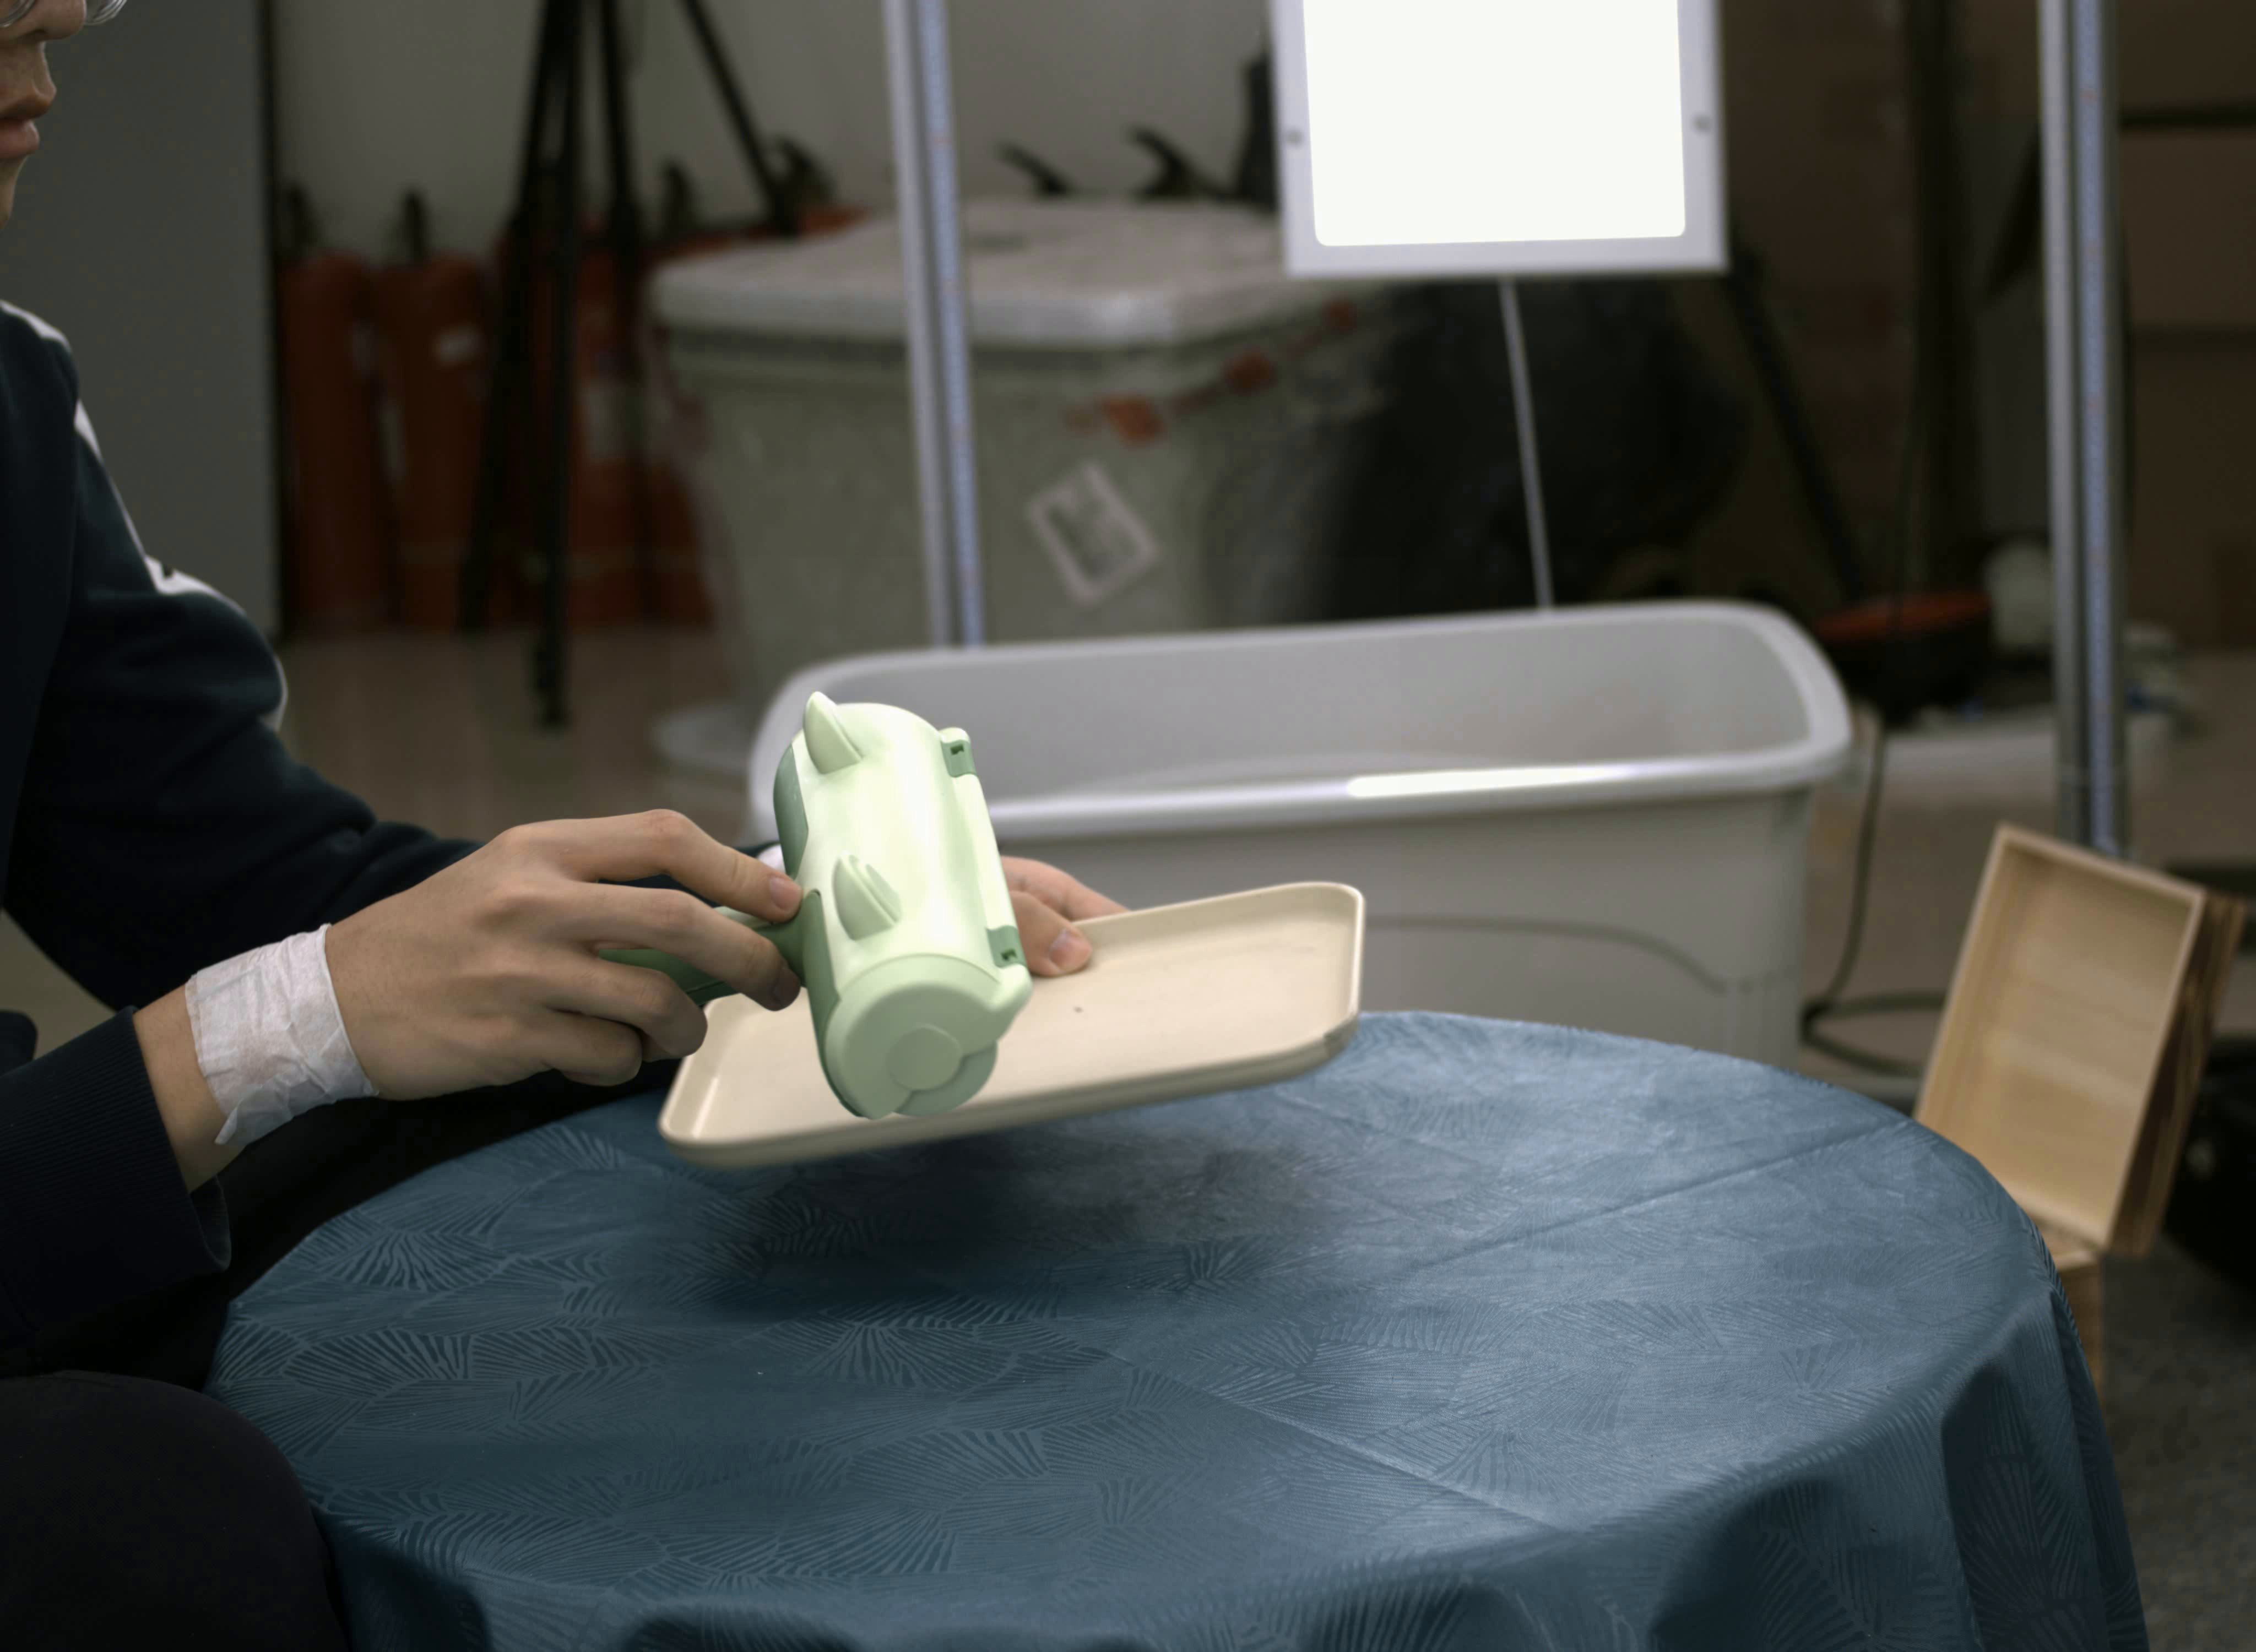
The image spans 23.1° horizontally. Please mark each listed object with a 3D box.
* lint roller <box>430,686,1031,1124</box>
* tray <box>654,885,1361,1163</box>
[{"bbox_3d":[-0.130,0.025,1.712,0.182,0.082,0.199,-9,28,-3],"label":"lint roller"},{"bbox_3d":[-0.037,0.068,1.876,0.241,0.017,0.170,-10,15,9],"label":"tray"}]
